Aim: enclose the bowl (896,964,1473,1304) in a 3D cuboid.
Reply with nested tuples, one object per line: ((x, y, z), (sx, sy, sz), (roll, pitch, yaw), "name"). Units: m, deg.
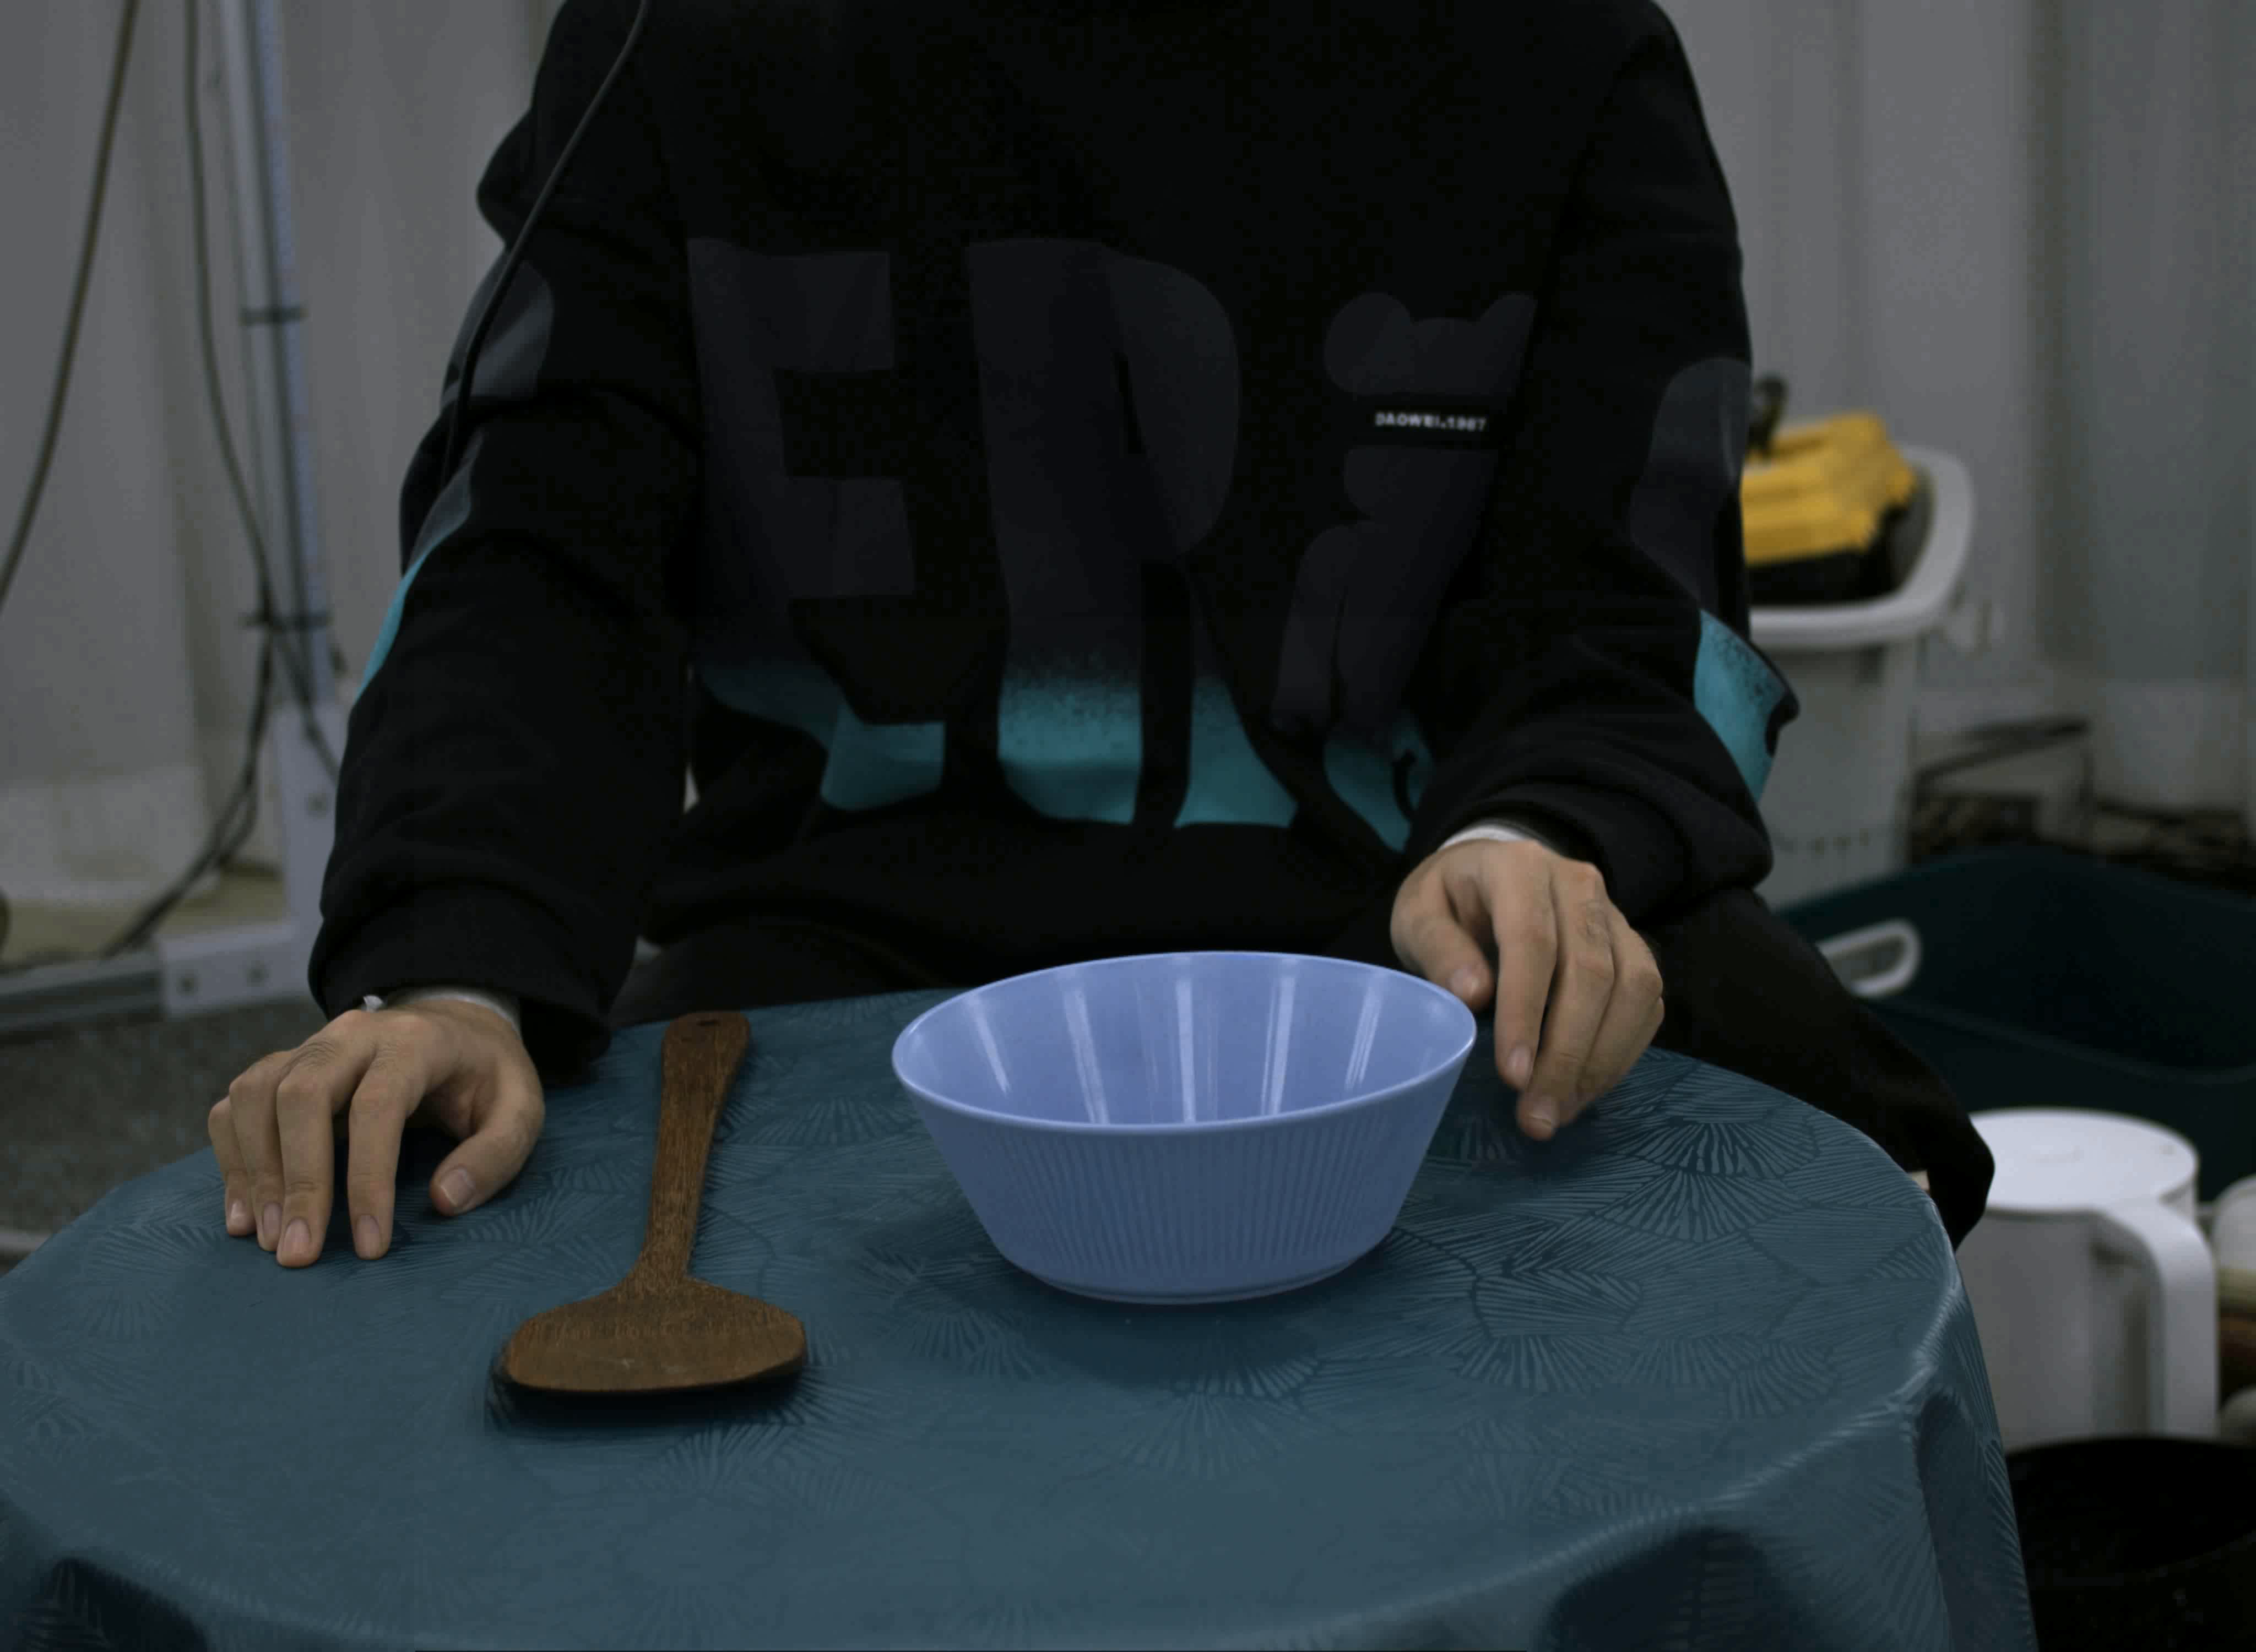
((0.018, 0.095, 1.652), (0.175, 0.070, 0.177), (-3, 13, 0), "bowl")

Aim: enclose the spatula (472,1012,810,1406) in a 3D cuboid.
((-0.142, 0.114, 1.718), (0.096, 0.016, 0.388), (-3, 15, -1), "spatula")
